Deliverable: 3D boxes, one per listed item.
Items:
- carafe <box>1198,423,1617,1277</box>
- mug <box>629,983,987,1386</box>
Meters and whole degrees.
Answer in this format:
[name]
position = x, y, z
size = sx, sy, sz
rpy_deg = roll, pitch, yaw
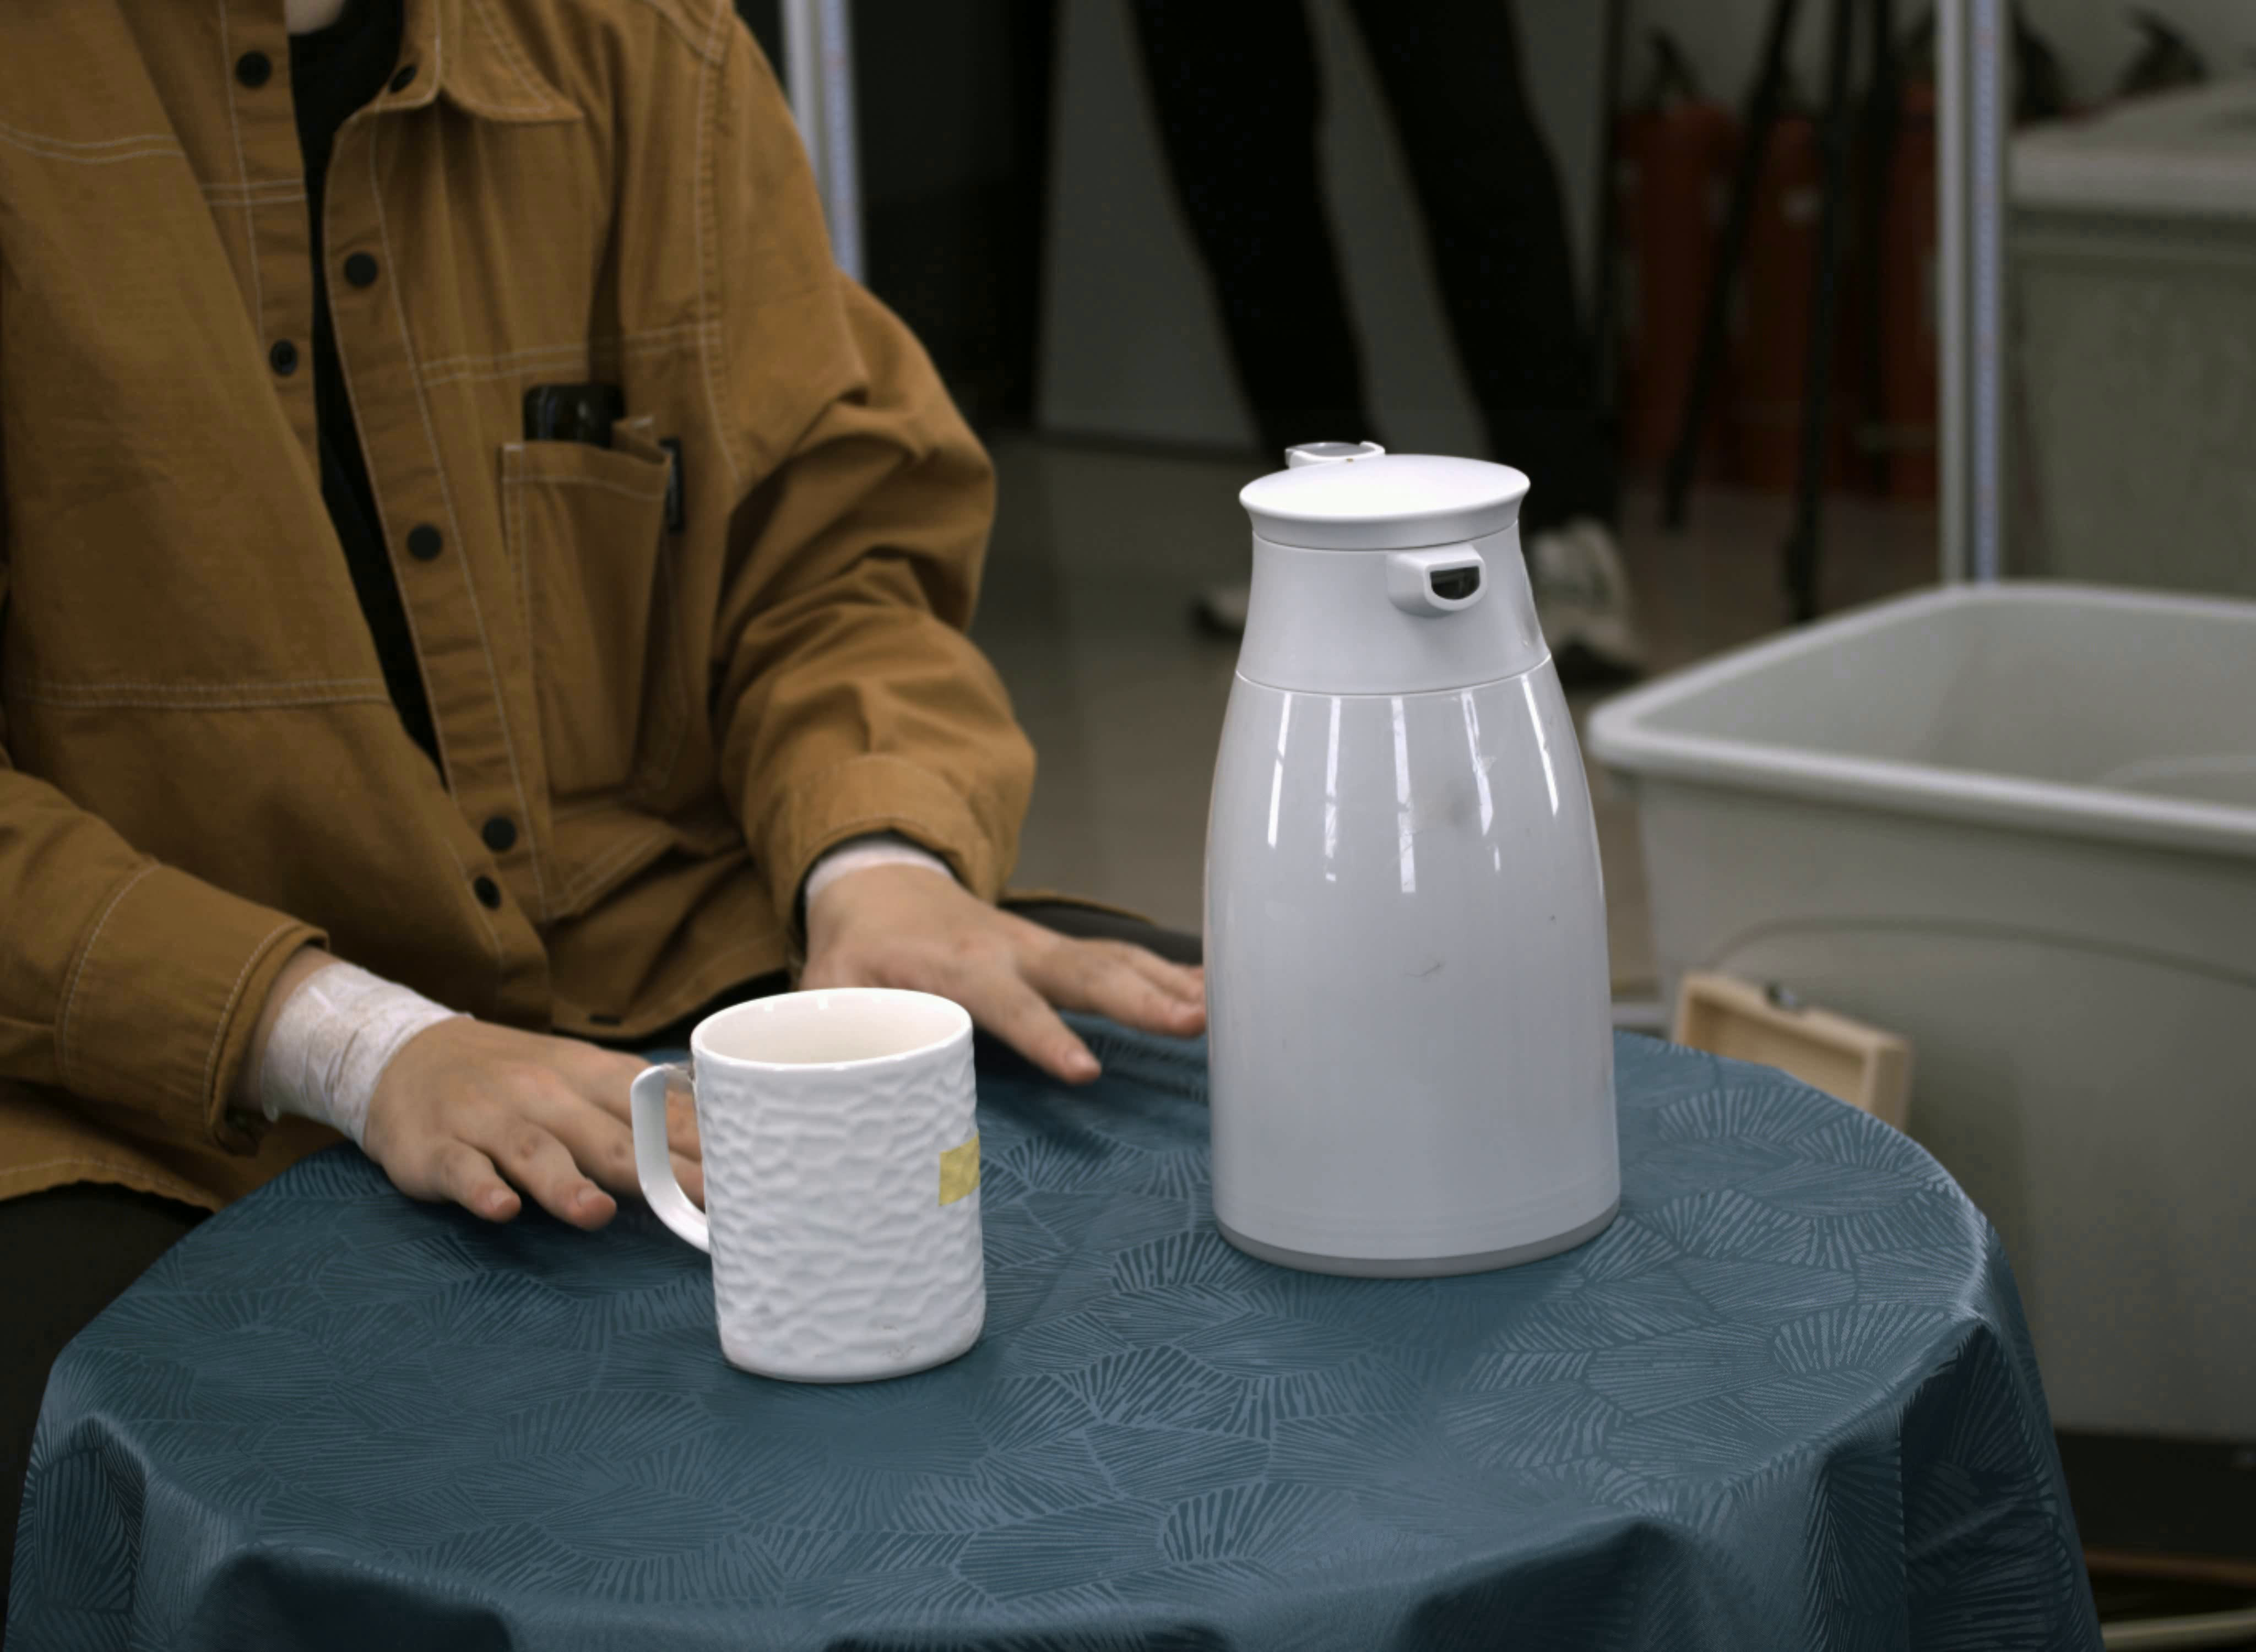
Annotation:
[carafe]
position = 0.077, -0.001, 1.721
size = 0.130, 0.251, 0.169
rpy_deg = -9, 14, -16
[mug]
position = -0.100, 0.107, 1.645
size = 0.119, 0.103, 0.083
rpy_deg = 4, 16, 31
